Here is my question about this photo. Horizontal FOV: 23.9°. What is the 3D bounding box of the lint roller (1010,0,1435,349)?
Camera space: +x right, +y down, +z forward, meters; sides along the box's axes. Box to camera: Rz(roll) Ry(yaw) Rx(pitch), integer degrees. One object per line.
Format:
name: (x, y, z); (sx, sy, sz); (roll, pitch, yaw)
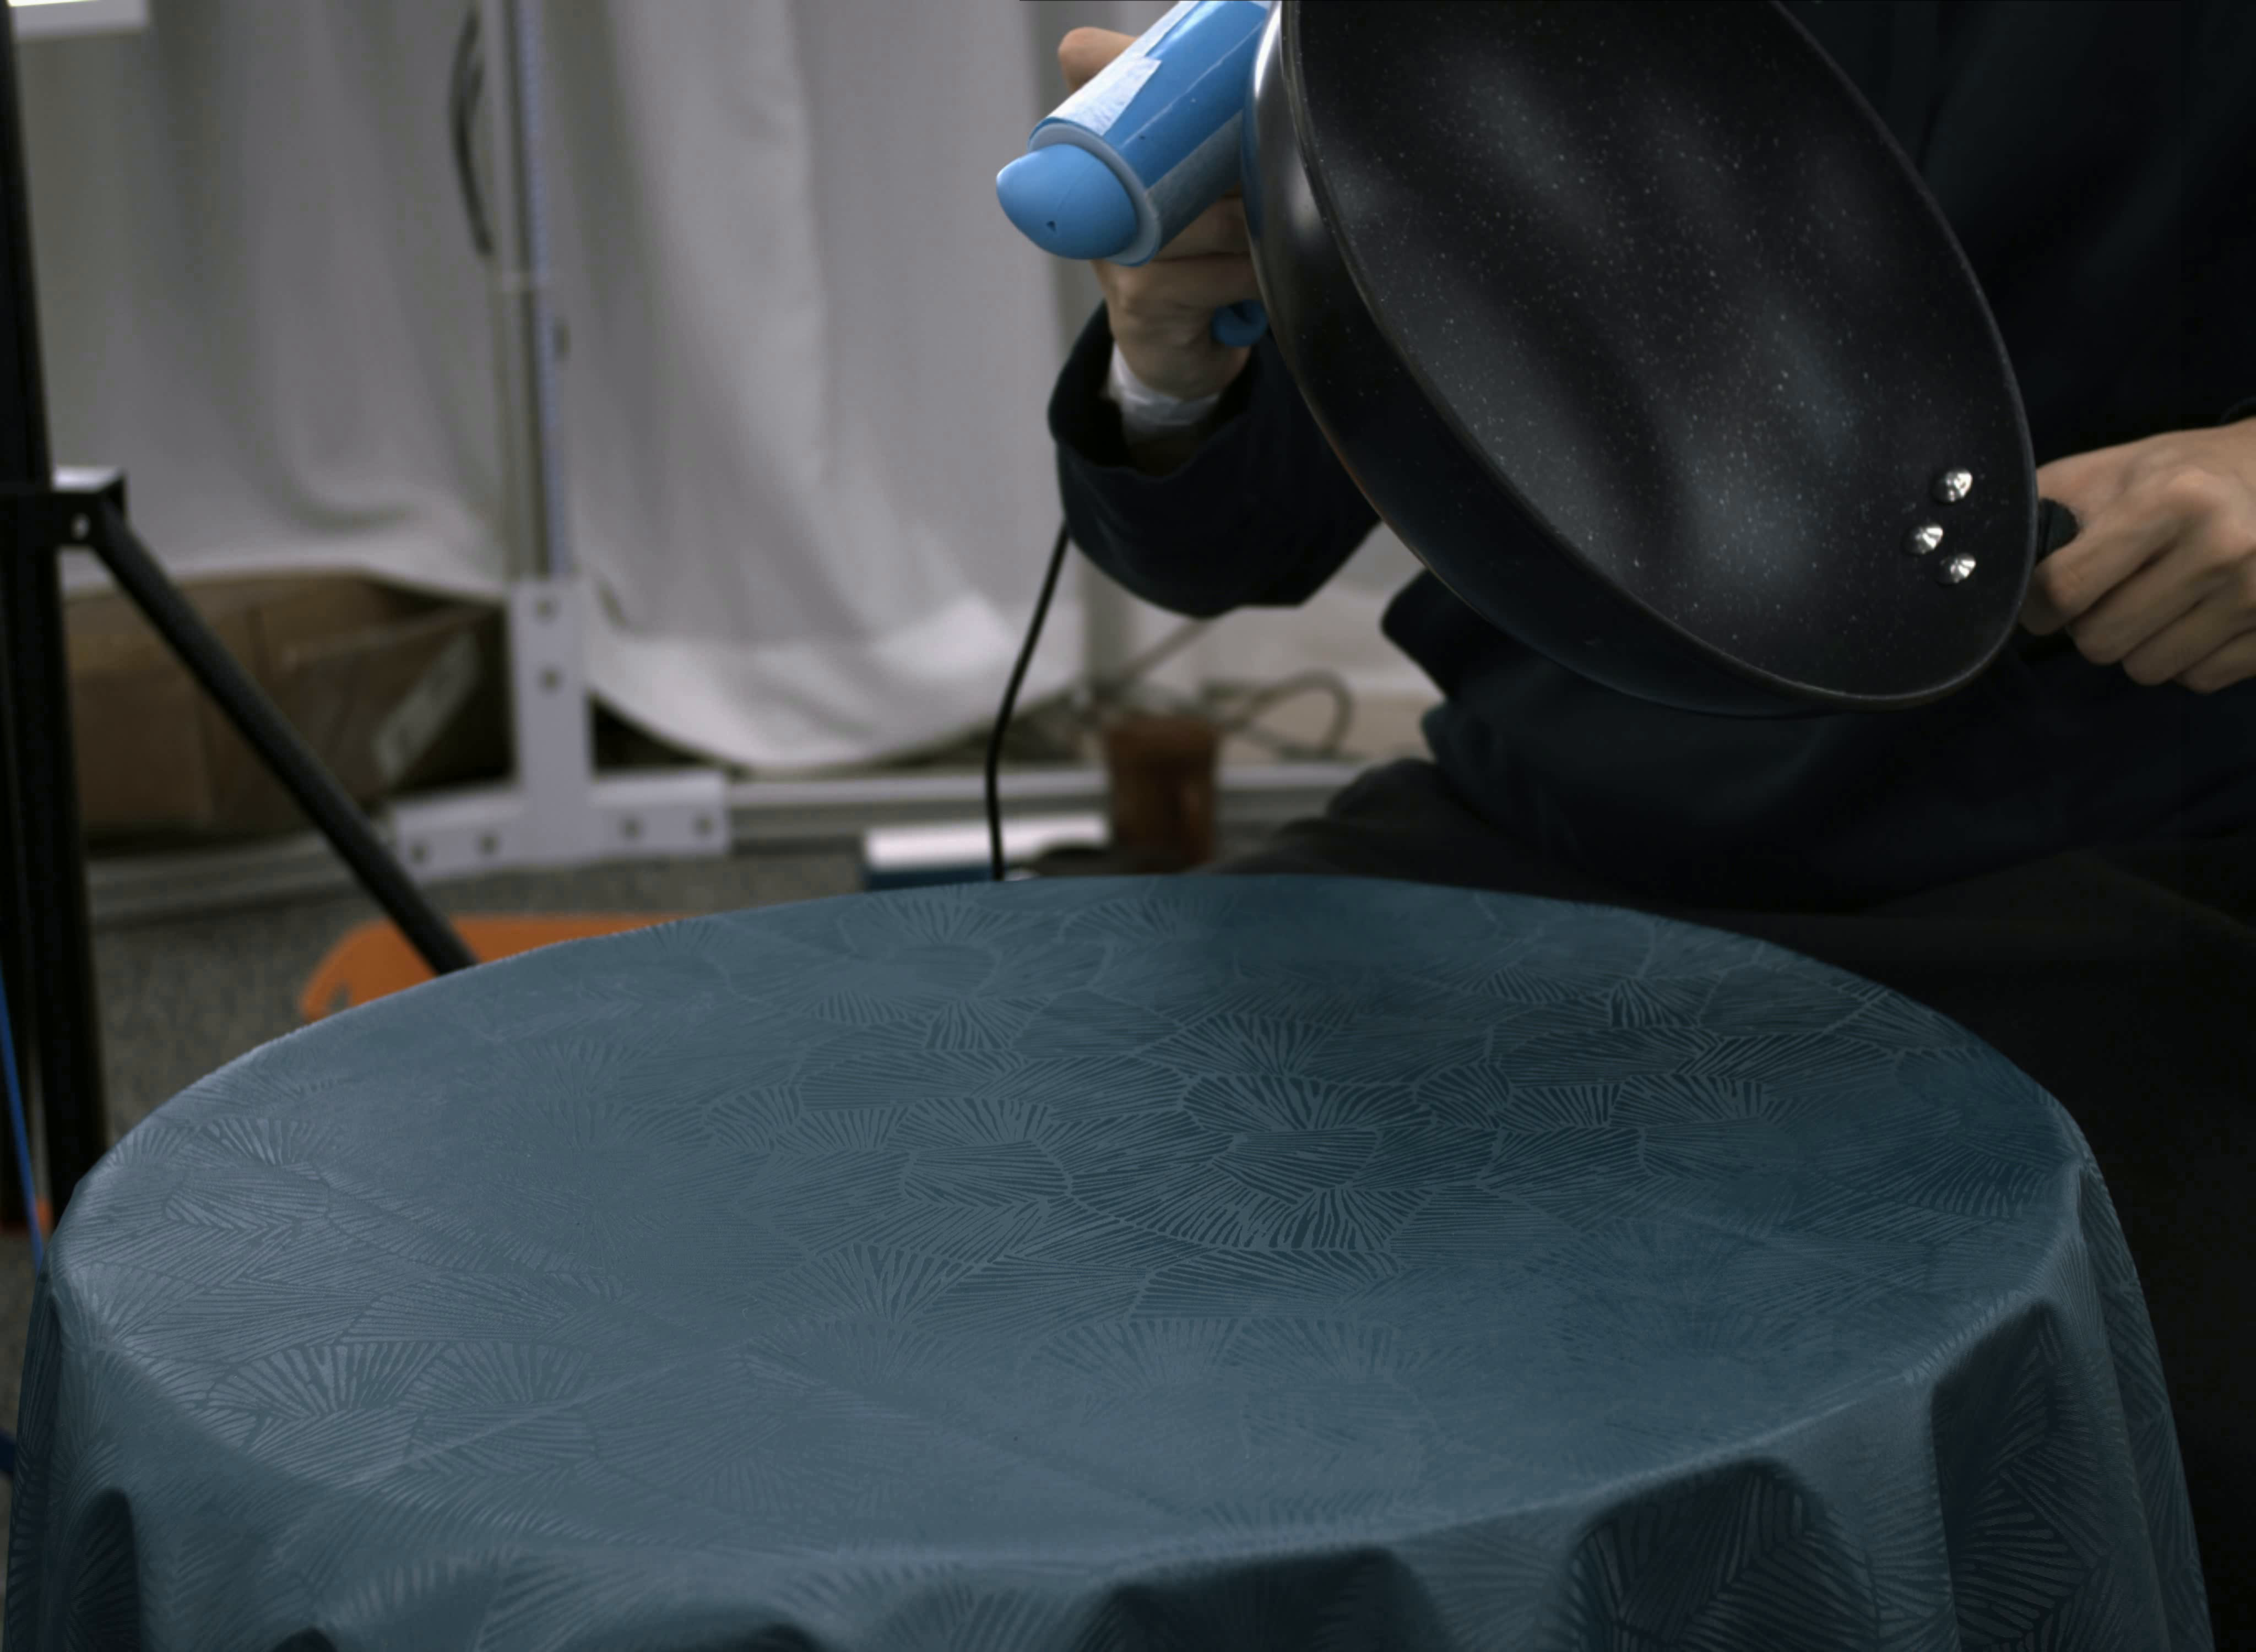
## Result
lint roller: (0.036, -0.223, 1.716); (0.068, 0.181, 0.226); (39, 58, 8)

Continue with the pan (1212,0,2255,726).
pan: (0.204, -0.119, 1.636); (0.467, 0.113, 0.312); (30, 45, -24)
